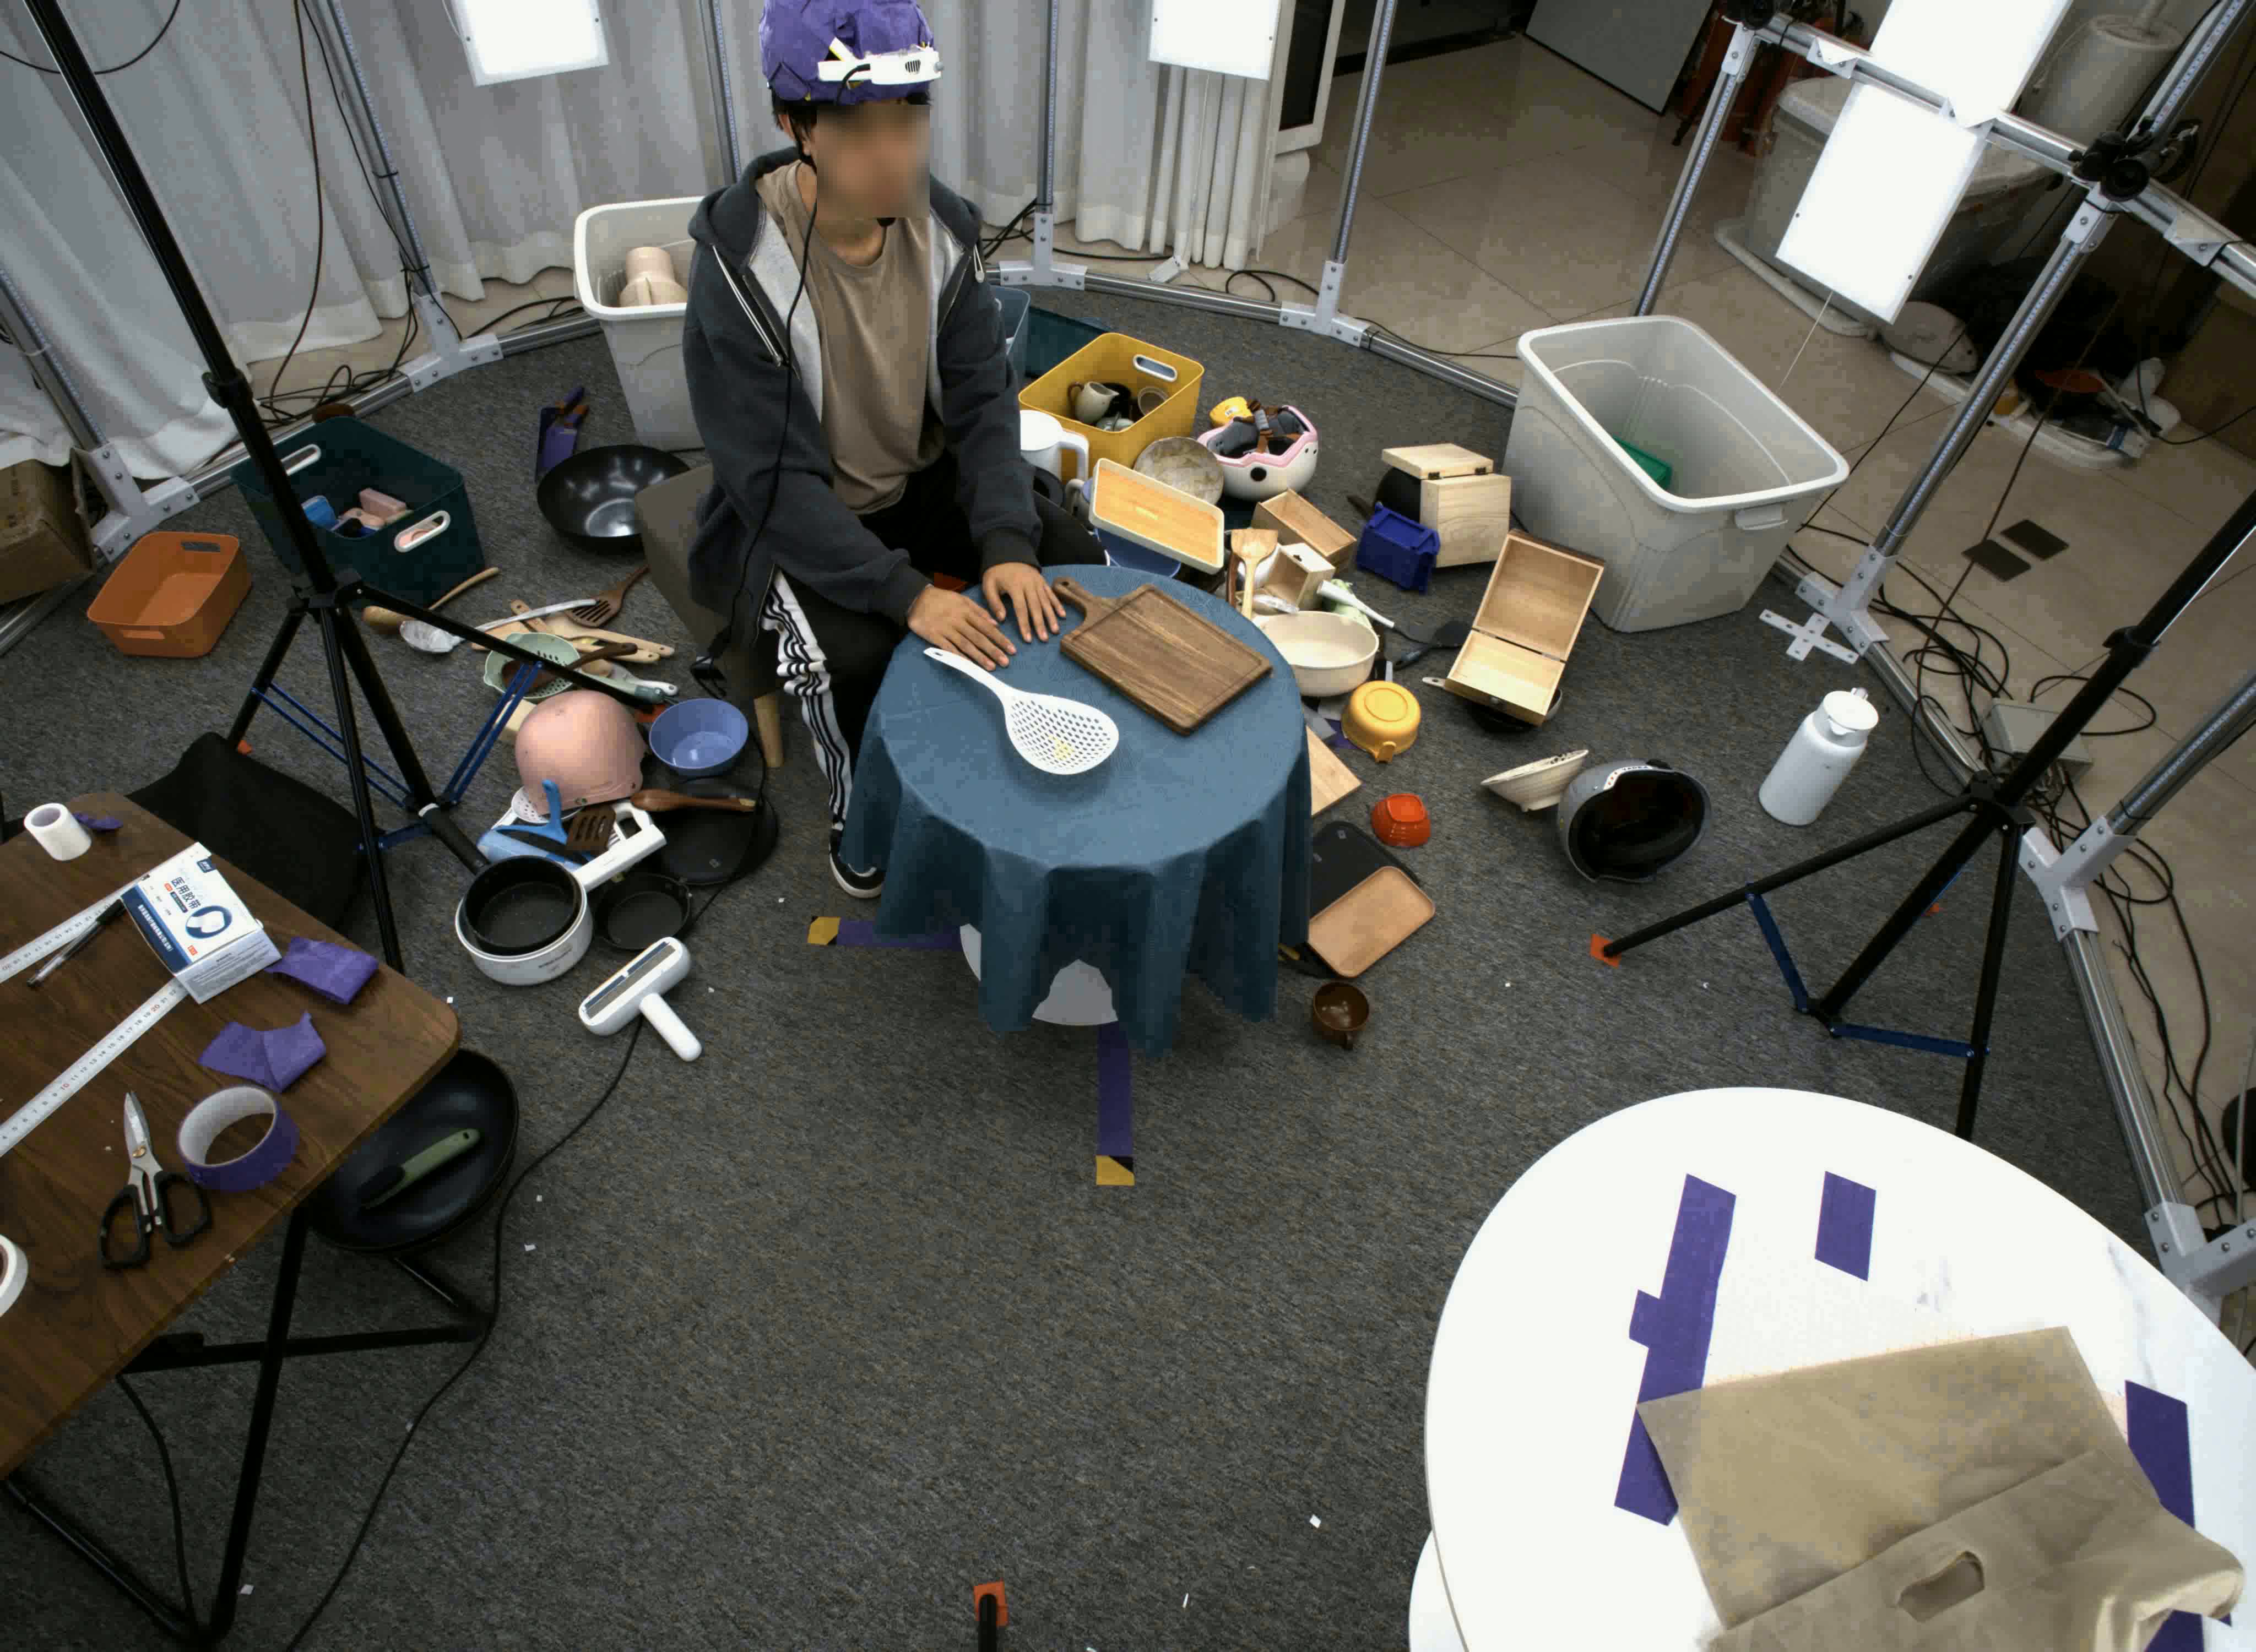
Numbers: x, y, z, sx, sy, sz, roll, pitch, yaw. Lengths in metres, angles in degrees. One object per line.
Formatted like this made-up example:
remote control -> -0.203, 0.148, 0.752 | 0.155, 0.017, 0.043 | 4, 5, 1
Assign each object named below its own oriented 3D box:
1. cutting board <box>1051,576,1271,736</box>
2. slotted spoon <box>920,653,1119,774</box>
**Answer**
cutting board -> 0.019, -0.276, 1.895 | 0.357, 0.022, 0.203 | 37, 56, 25
slotted spoon -> -0.163, -0.170, 1.776 | 0.353, 0.049, 0.138 | 37, 58, 25
